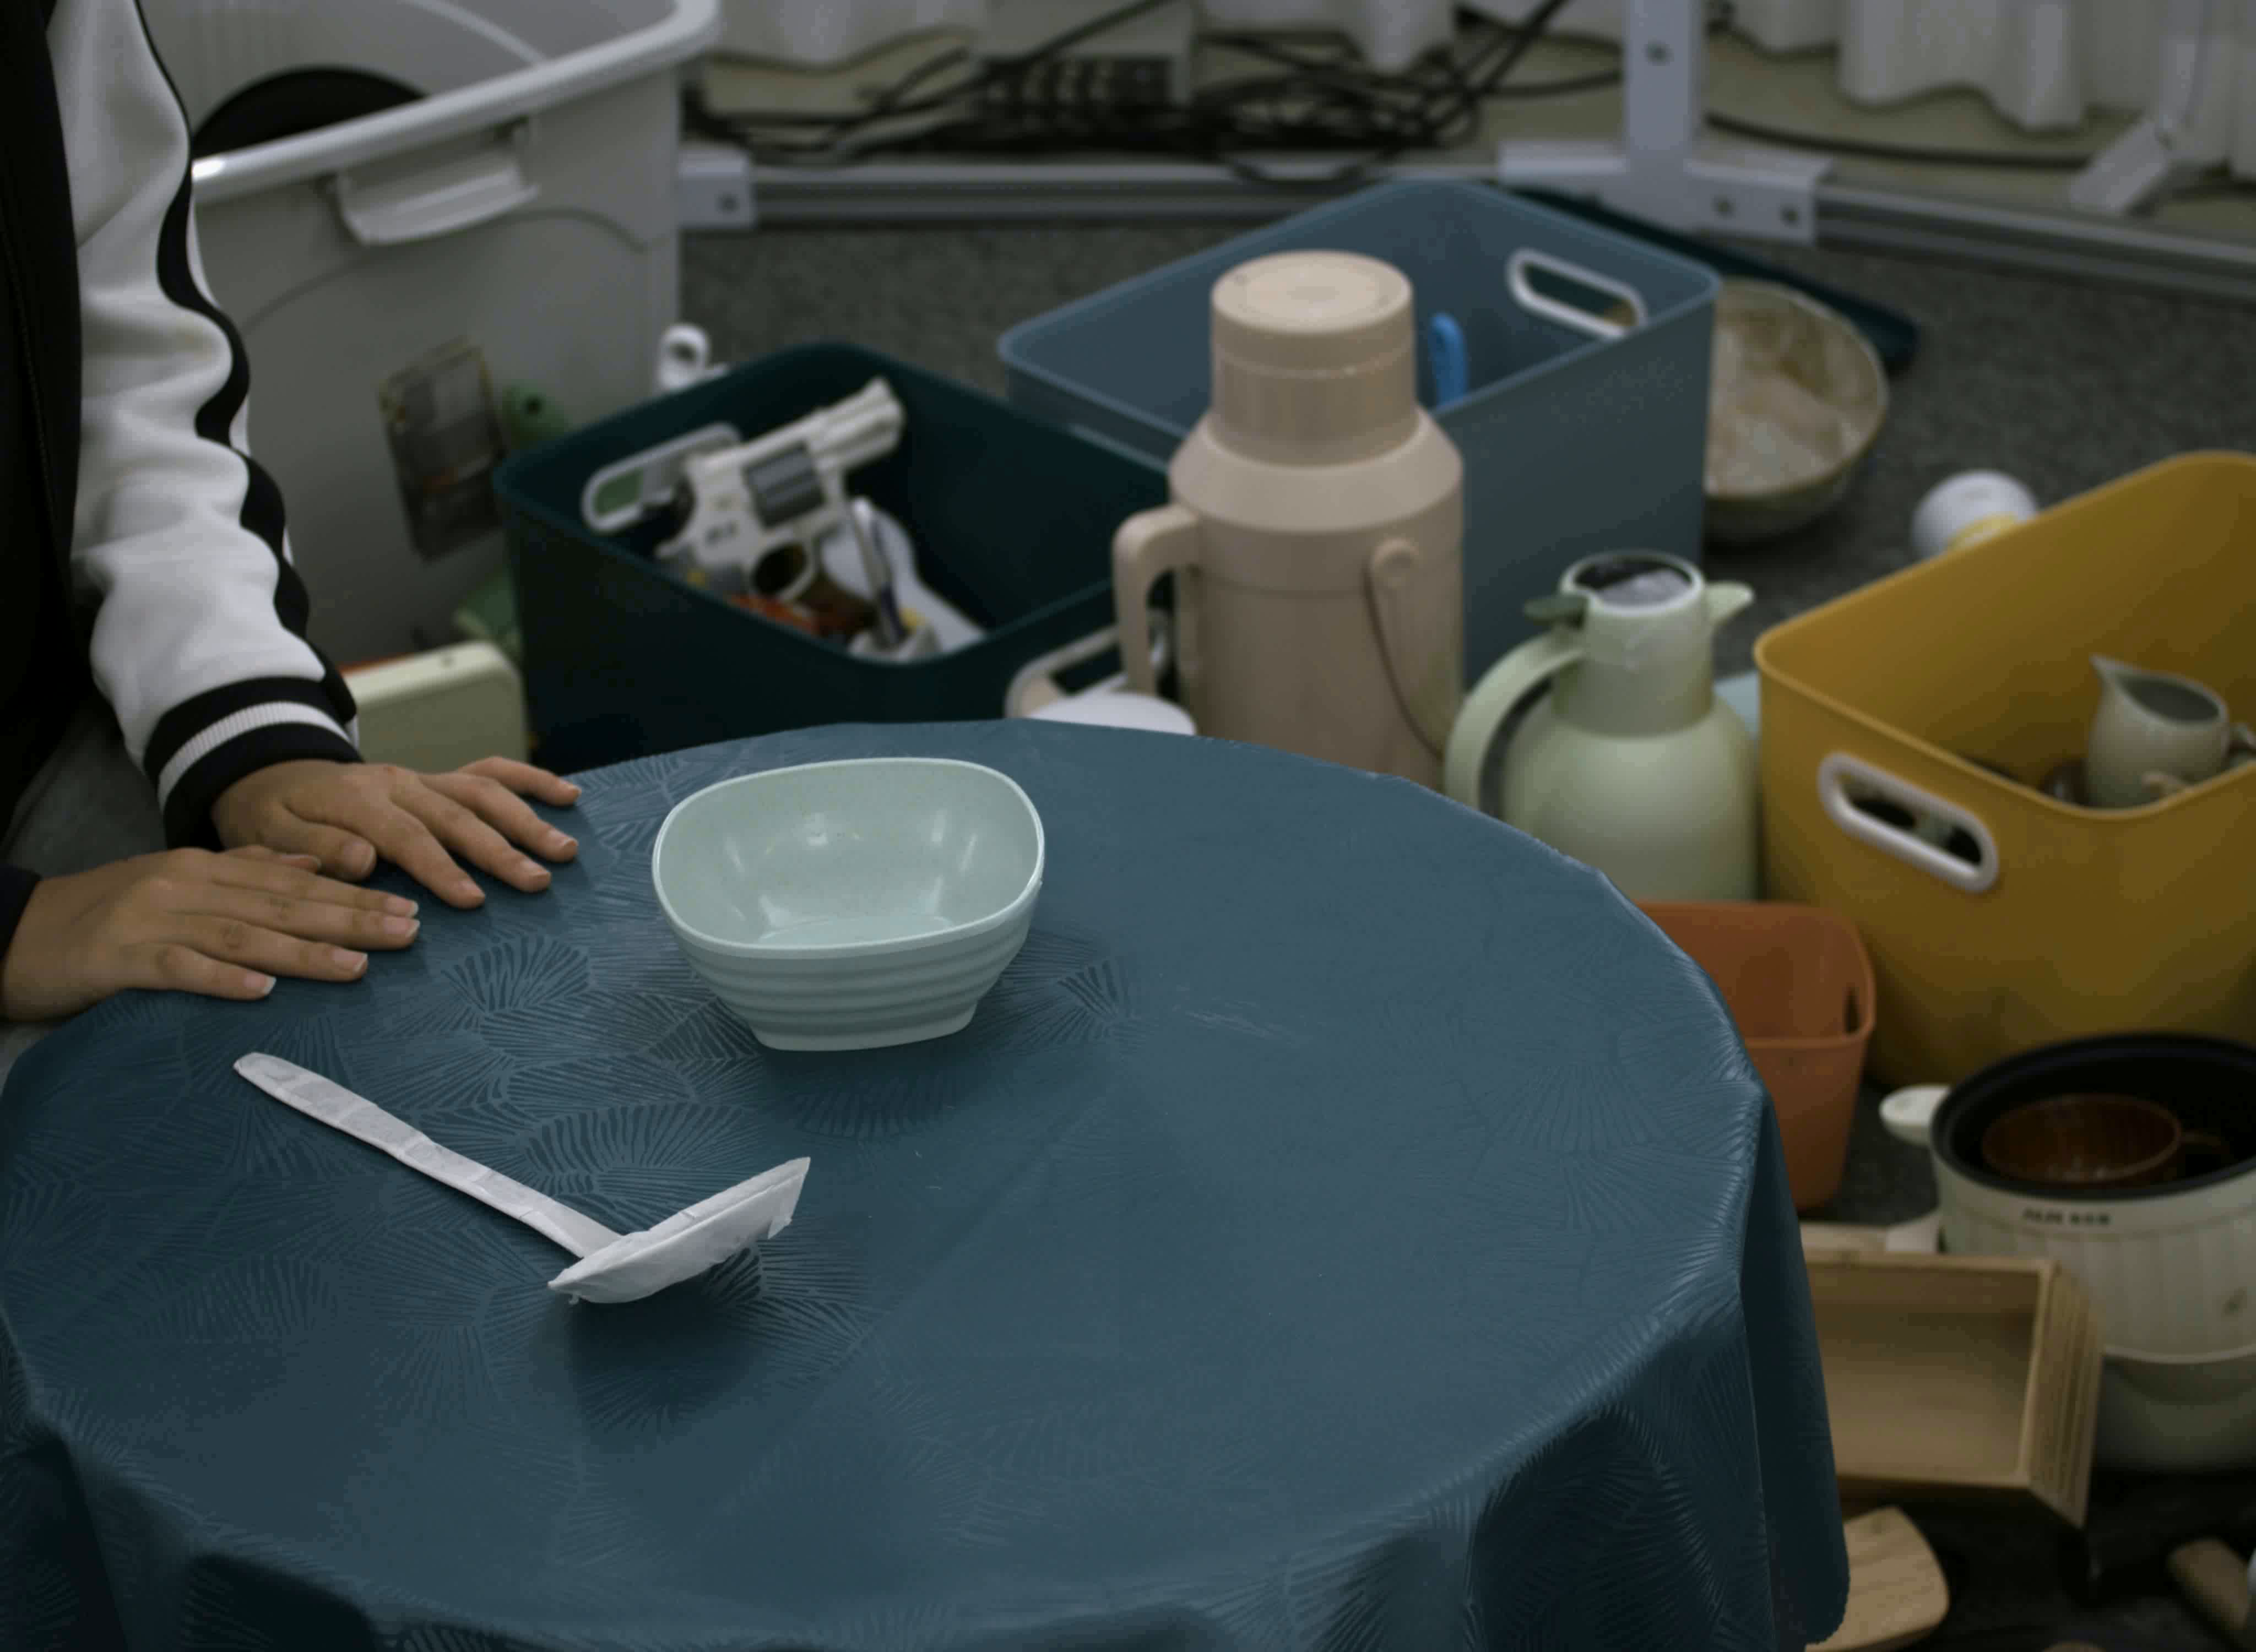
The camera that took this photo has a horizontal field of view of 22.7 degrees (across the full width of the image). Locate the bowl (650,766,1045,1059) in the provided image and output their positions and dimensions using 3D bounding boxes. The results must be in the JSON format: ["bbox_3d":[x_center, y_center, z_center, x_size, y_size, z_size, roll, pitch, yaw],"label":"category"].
[{"bbox_3d":[-0.097,0.036,1.980,0.151,0.058,0.154,-2,27,1],"label":"bowl"}]

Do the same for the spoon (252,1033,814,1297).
[{"bbox_3d":[-0.208,0.096,1.870,0.101,0.059,0.277,-19,31,-38],"label":"spoon"}]
